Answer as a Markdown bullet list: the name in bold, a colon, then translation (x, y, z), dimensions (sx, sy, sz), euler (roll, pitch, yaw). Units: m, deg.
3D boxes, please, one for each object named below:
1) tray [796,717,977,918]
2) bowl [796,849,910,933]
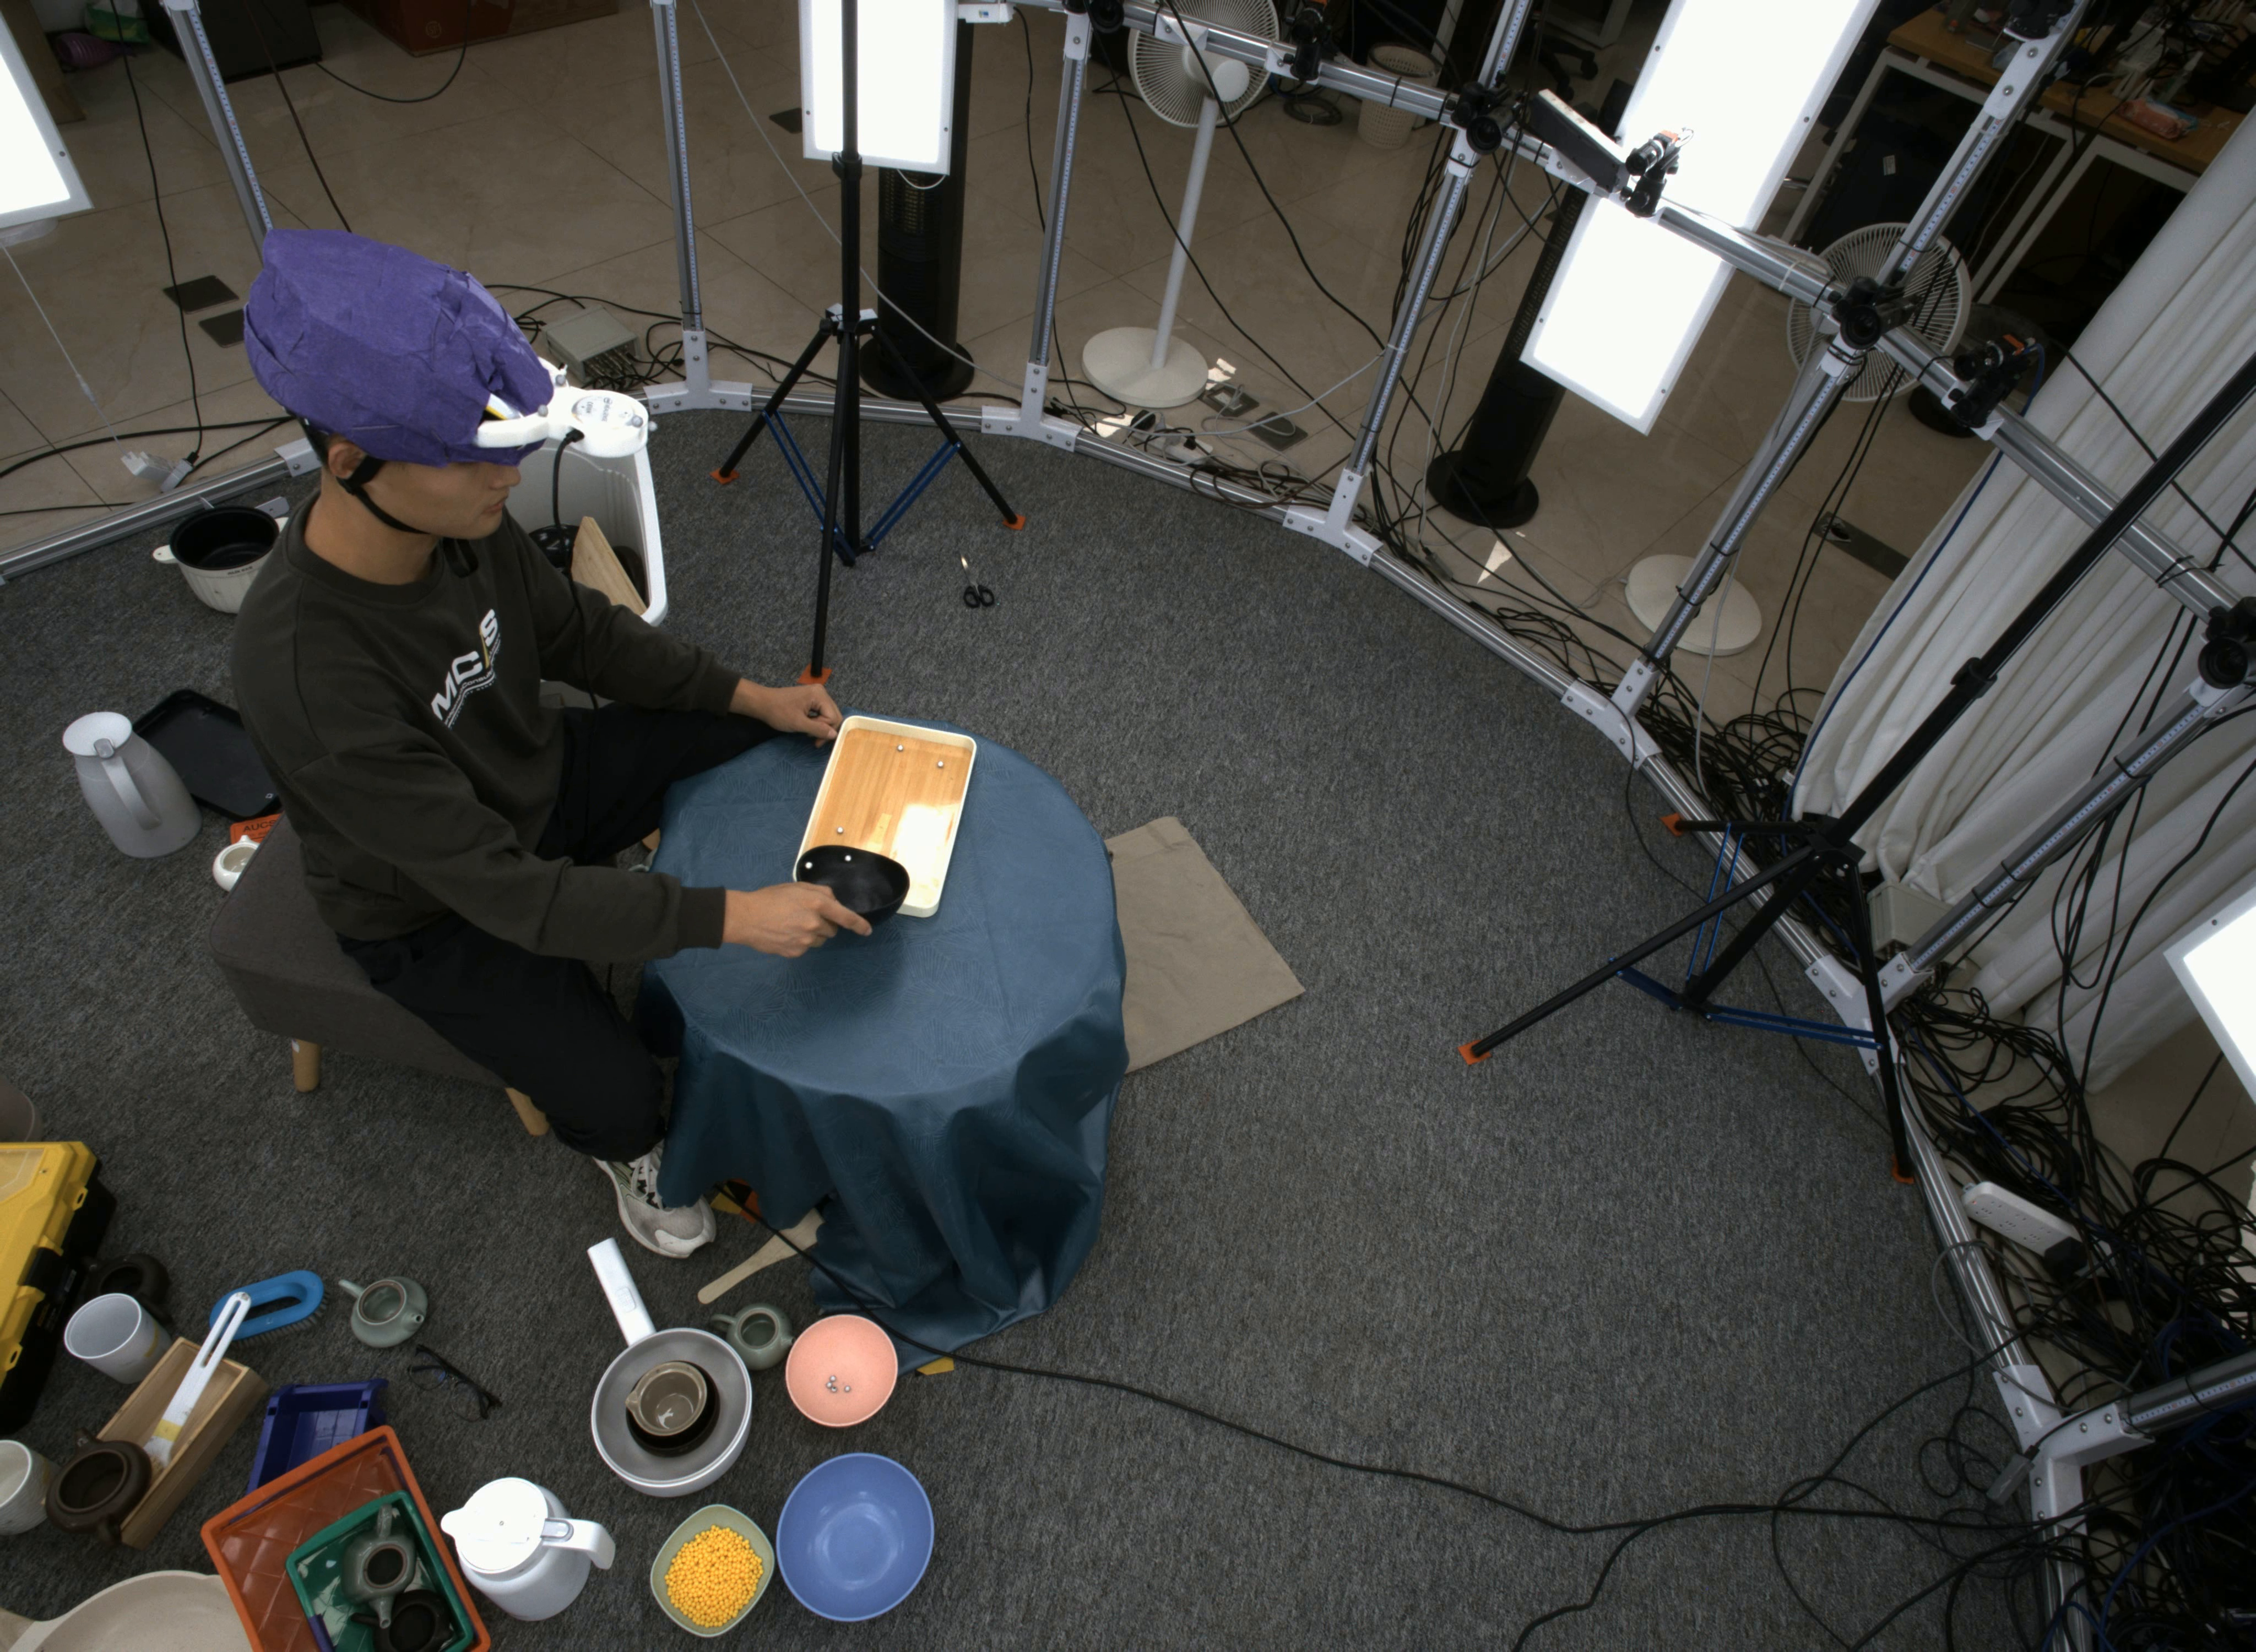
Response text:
- **tray**: translation (-0.320, -0.017, 1.756), dimensions (0.190, 0.028, 0.295), euler (11, 52, -5)
- **bowl**: translation (-0.343, 0.085, 1.601), dimensions (0.137, 0.068, 0.167), euler (16, 24, -6)
